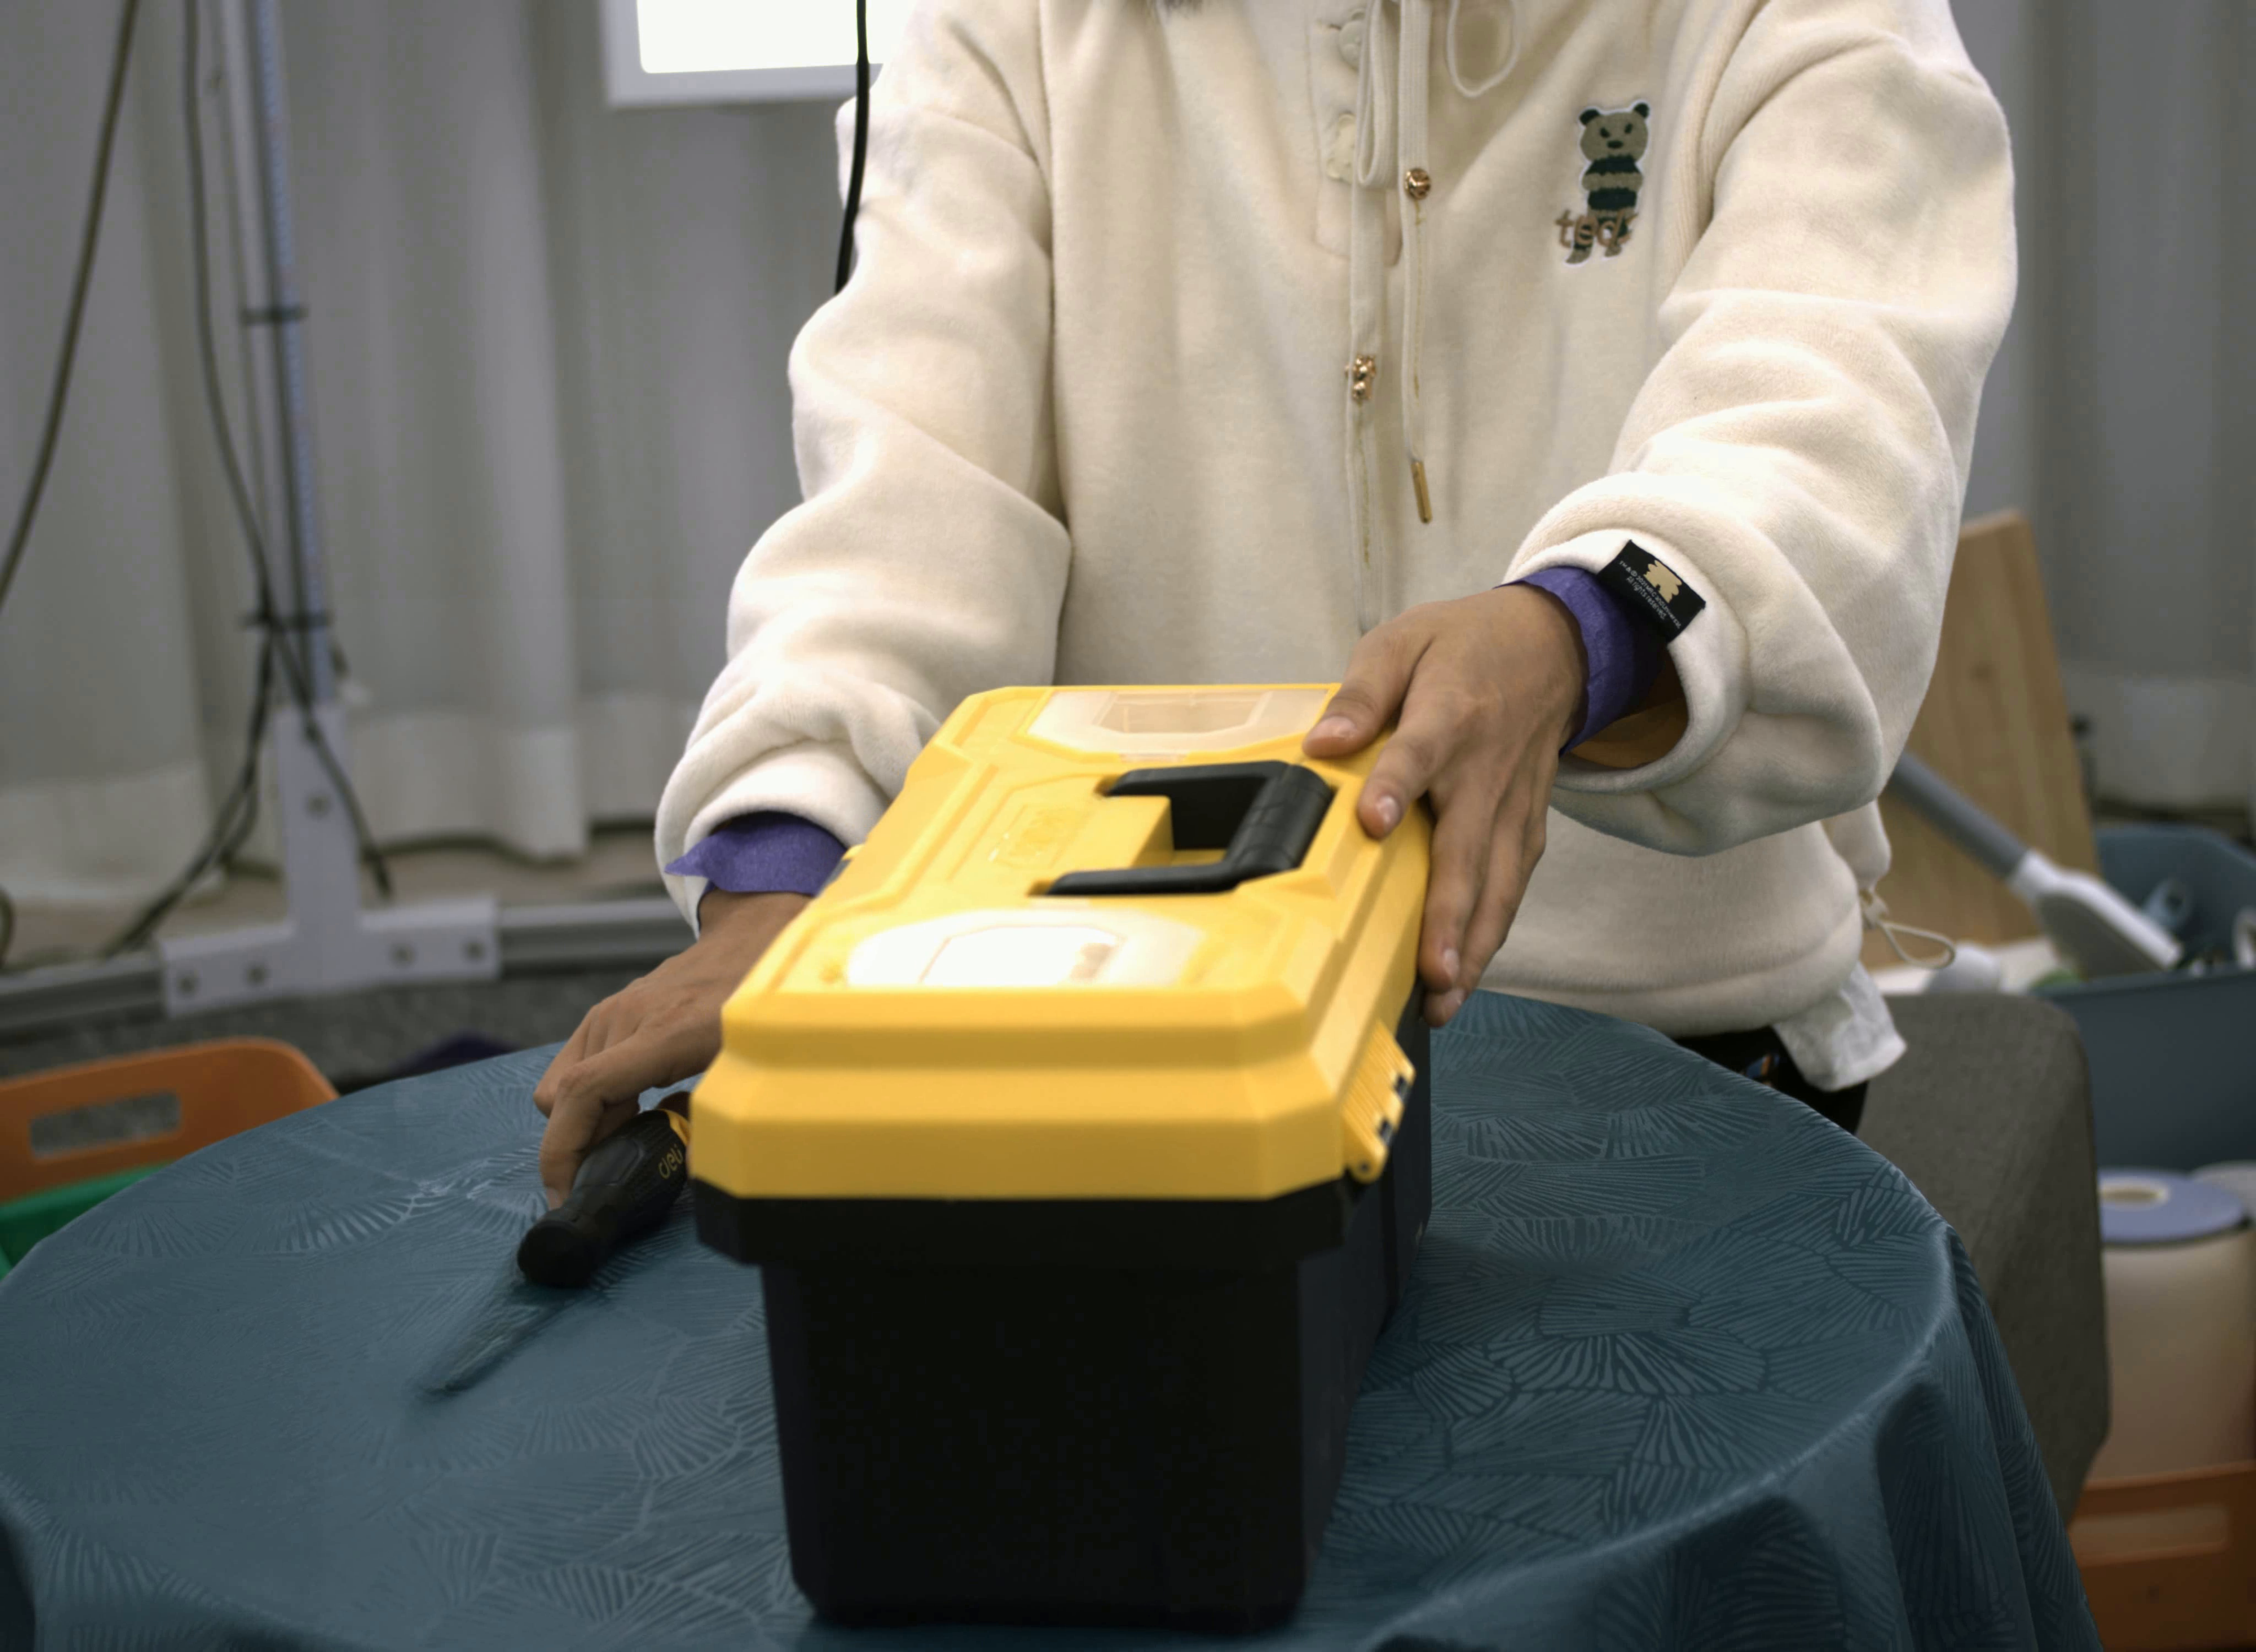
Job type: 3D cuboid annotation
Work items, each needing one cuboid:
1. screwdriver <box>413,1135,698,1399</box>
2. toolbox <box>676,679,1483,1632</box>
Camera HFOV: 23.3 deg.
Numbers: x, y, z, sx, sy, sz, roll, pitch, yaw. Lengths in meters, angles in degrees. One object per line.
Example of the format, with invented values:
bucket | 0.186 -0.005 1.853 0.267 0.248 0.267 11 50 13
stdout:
screwdriver | -0.173 0.137 1.648 0.031 0.031 0.199 2 19 17
toolbox | -0.001 0.081 1.507 0.181 0.172 0.353 0 15 10
